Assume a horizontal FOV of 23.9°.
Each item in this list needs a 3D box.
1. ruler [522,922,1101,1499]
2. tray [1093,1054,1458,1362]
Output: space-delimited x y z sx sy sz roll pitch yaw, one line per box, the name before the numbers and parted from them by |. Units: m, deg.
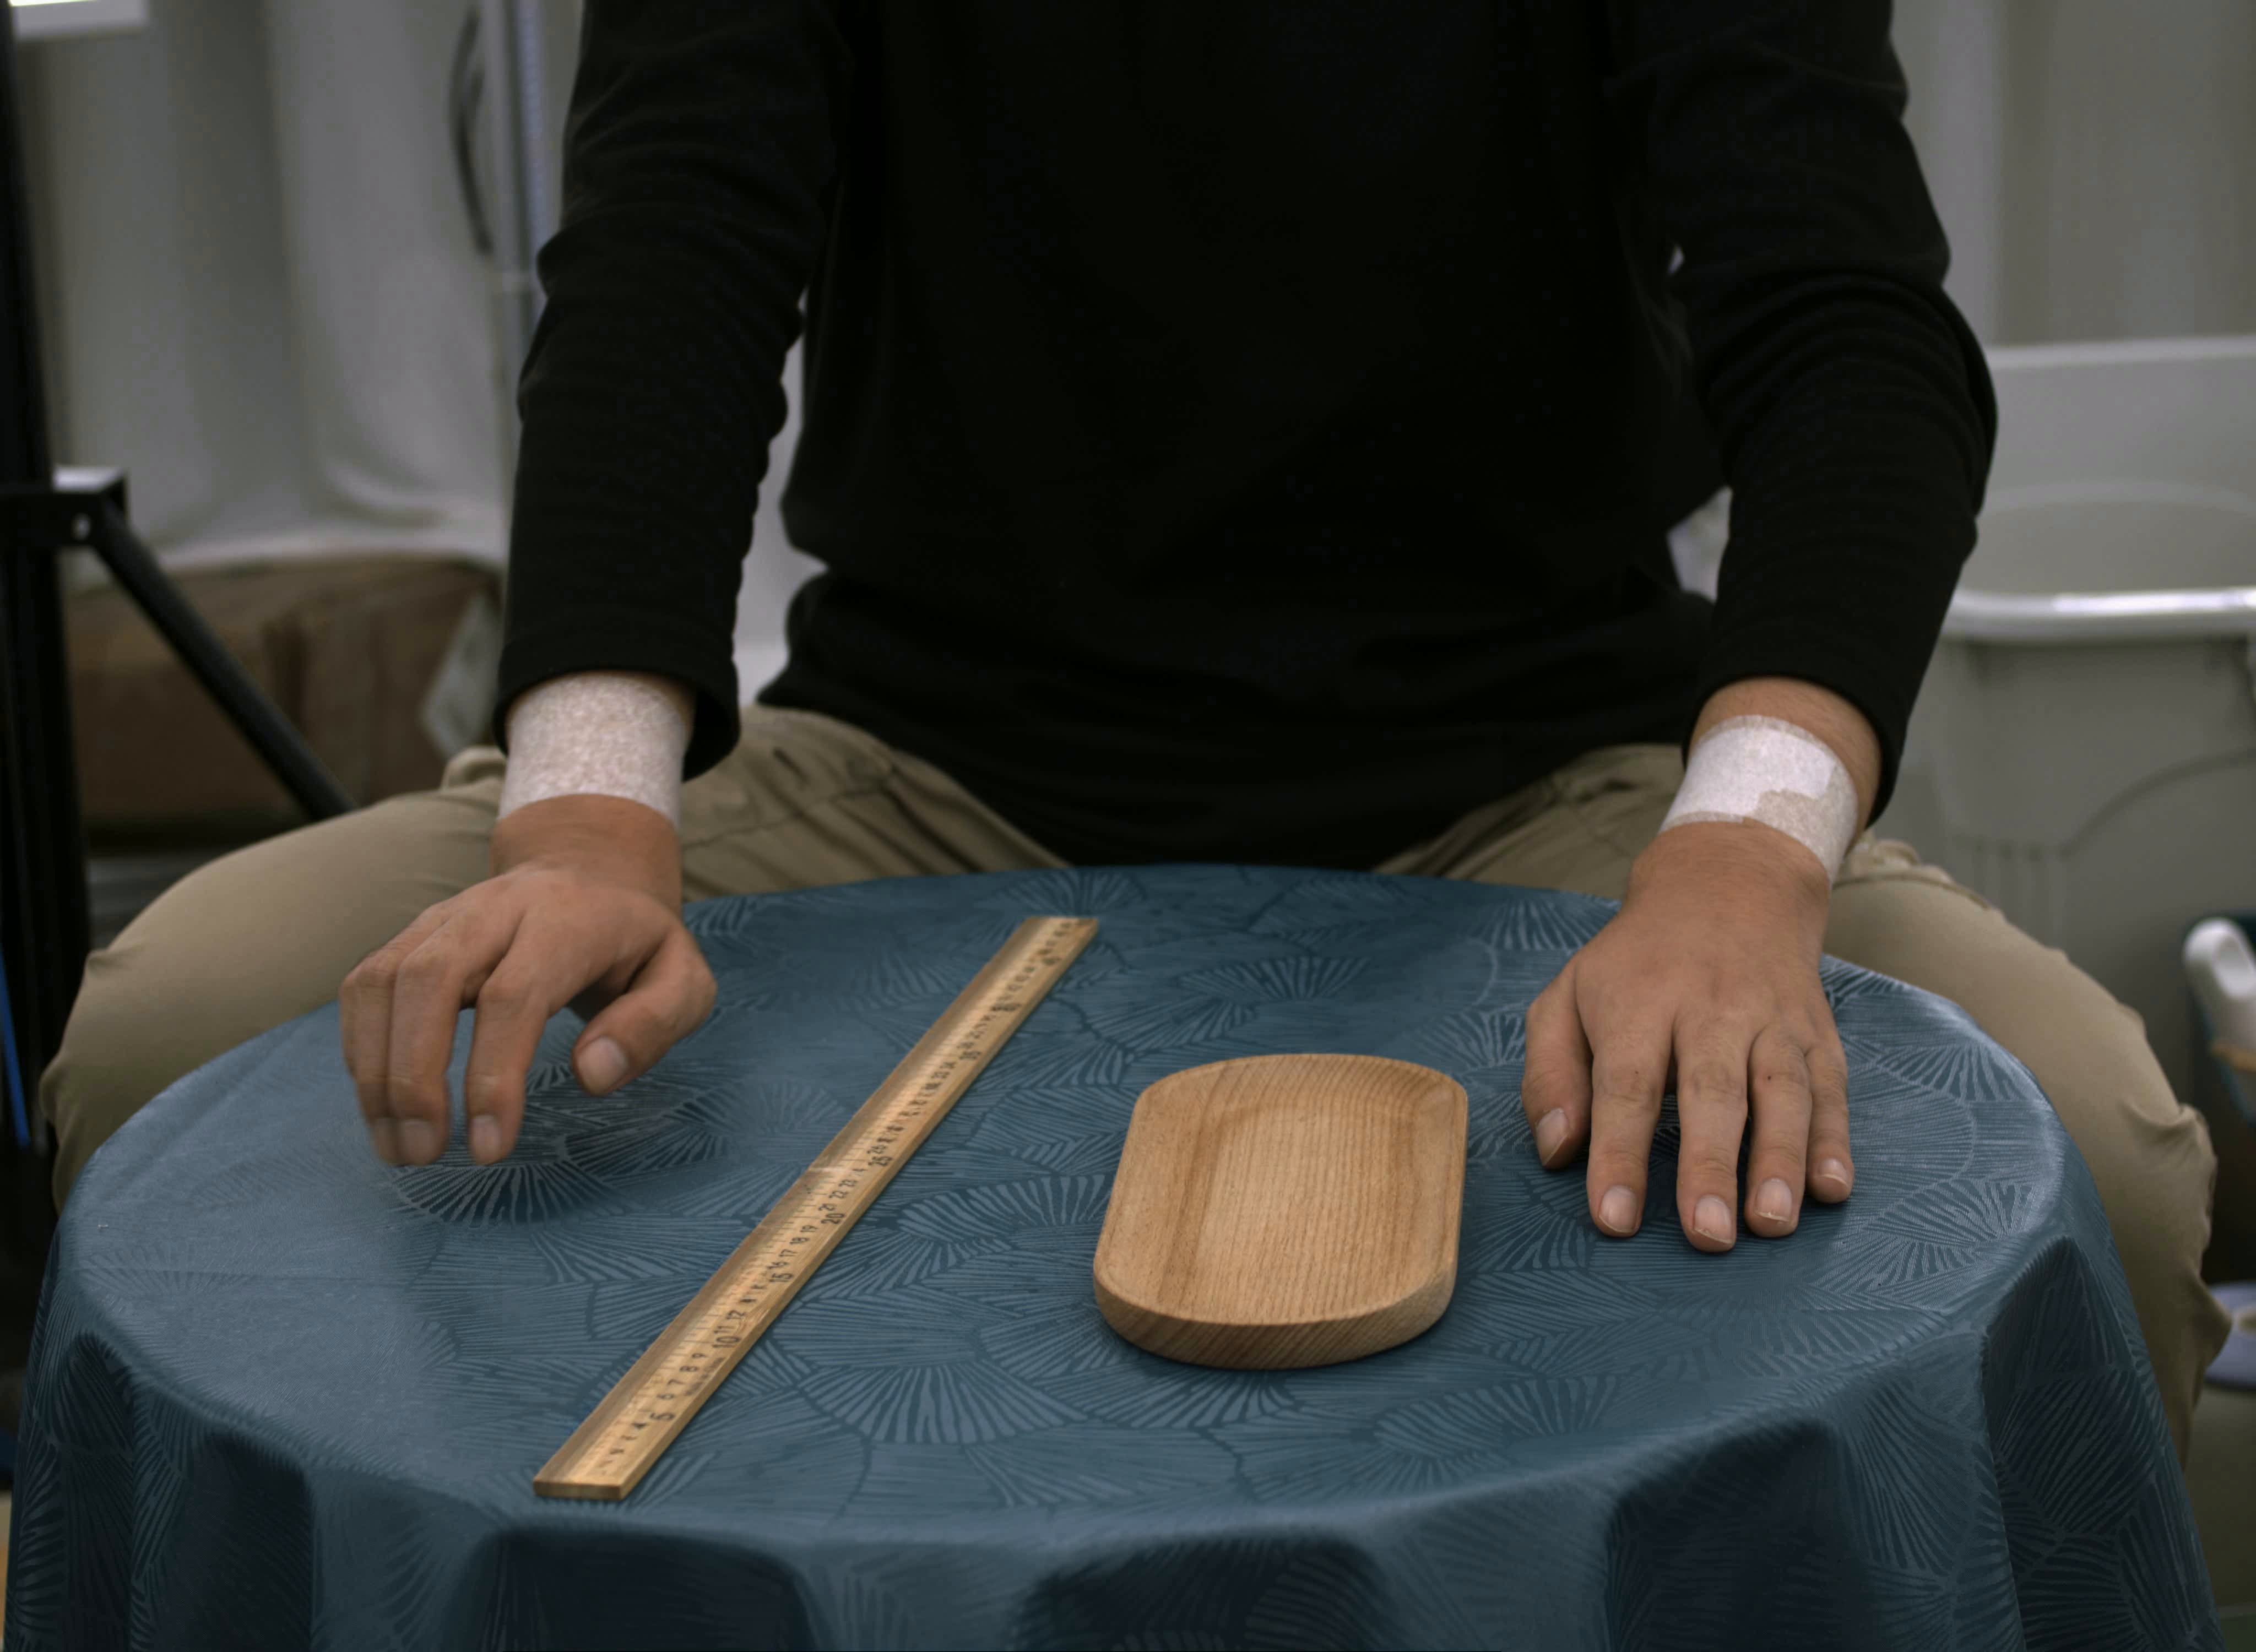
ruler | -0.081 0.102 1.583 0.027 0.006 0.496 3 16 14
tray | 0.044 0.107 1.523 0.101 0.020 0.231 0 14 3
